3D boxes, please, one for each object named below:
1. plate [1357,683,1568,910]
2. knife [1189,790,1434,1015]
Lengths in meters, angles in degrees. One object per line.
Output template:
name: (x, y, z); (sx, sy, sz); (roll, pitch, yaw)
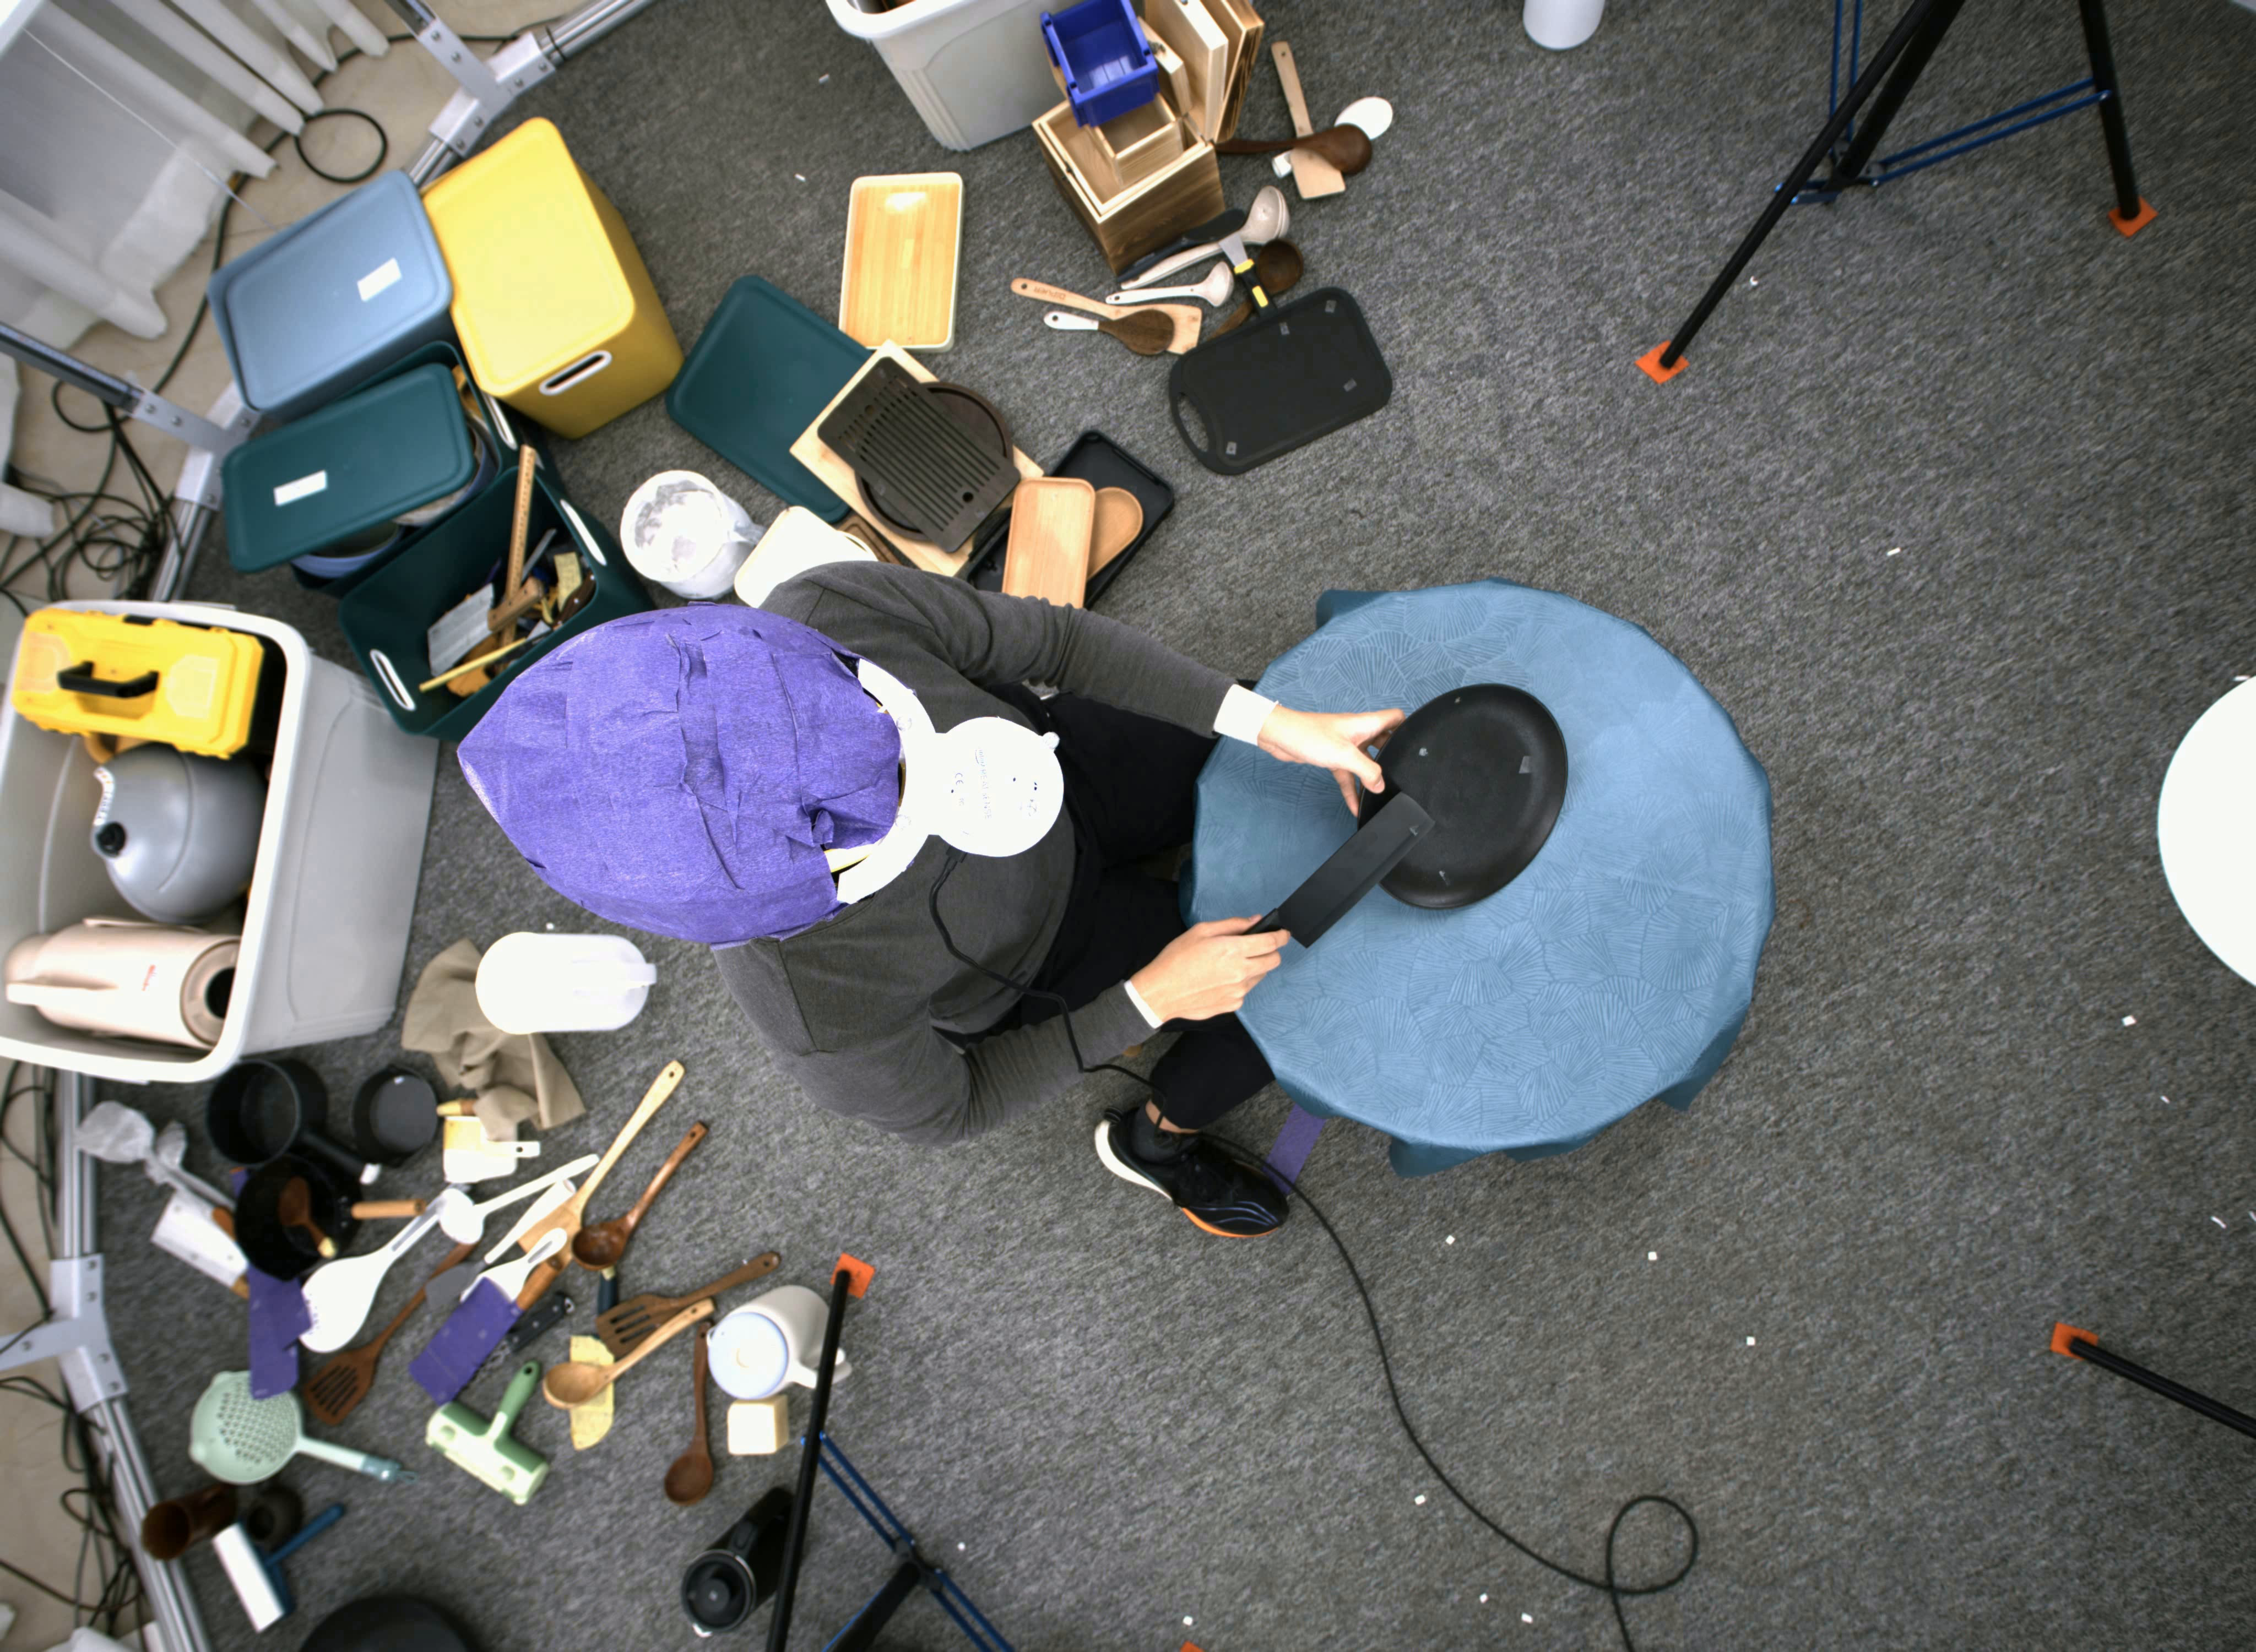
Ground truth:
plate: (0.333, -0.031, 1.377); (0.243, 0.023, 0.249); (-8, 117, -18)
knife: (0.177, 0.081, 1.366); (0.304, 0.020, 0.082); (-41, 125, 9)
